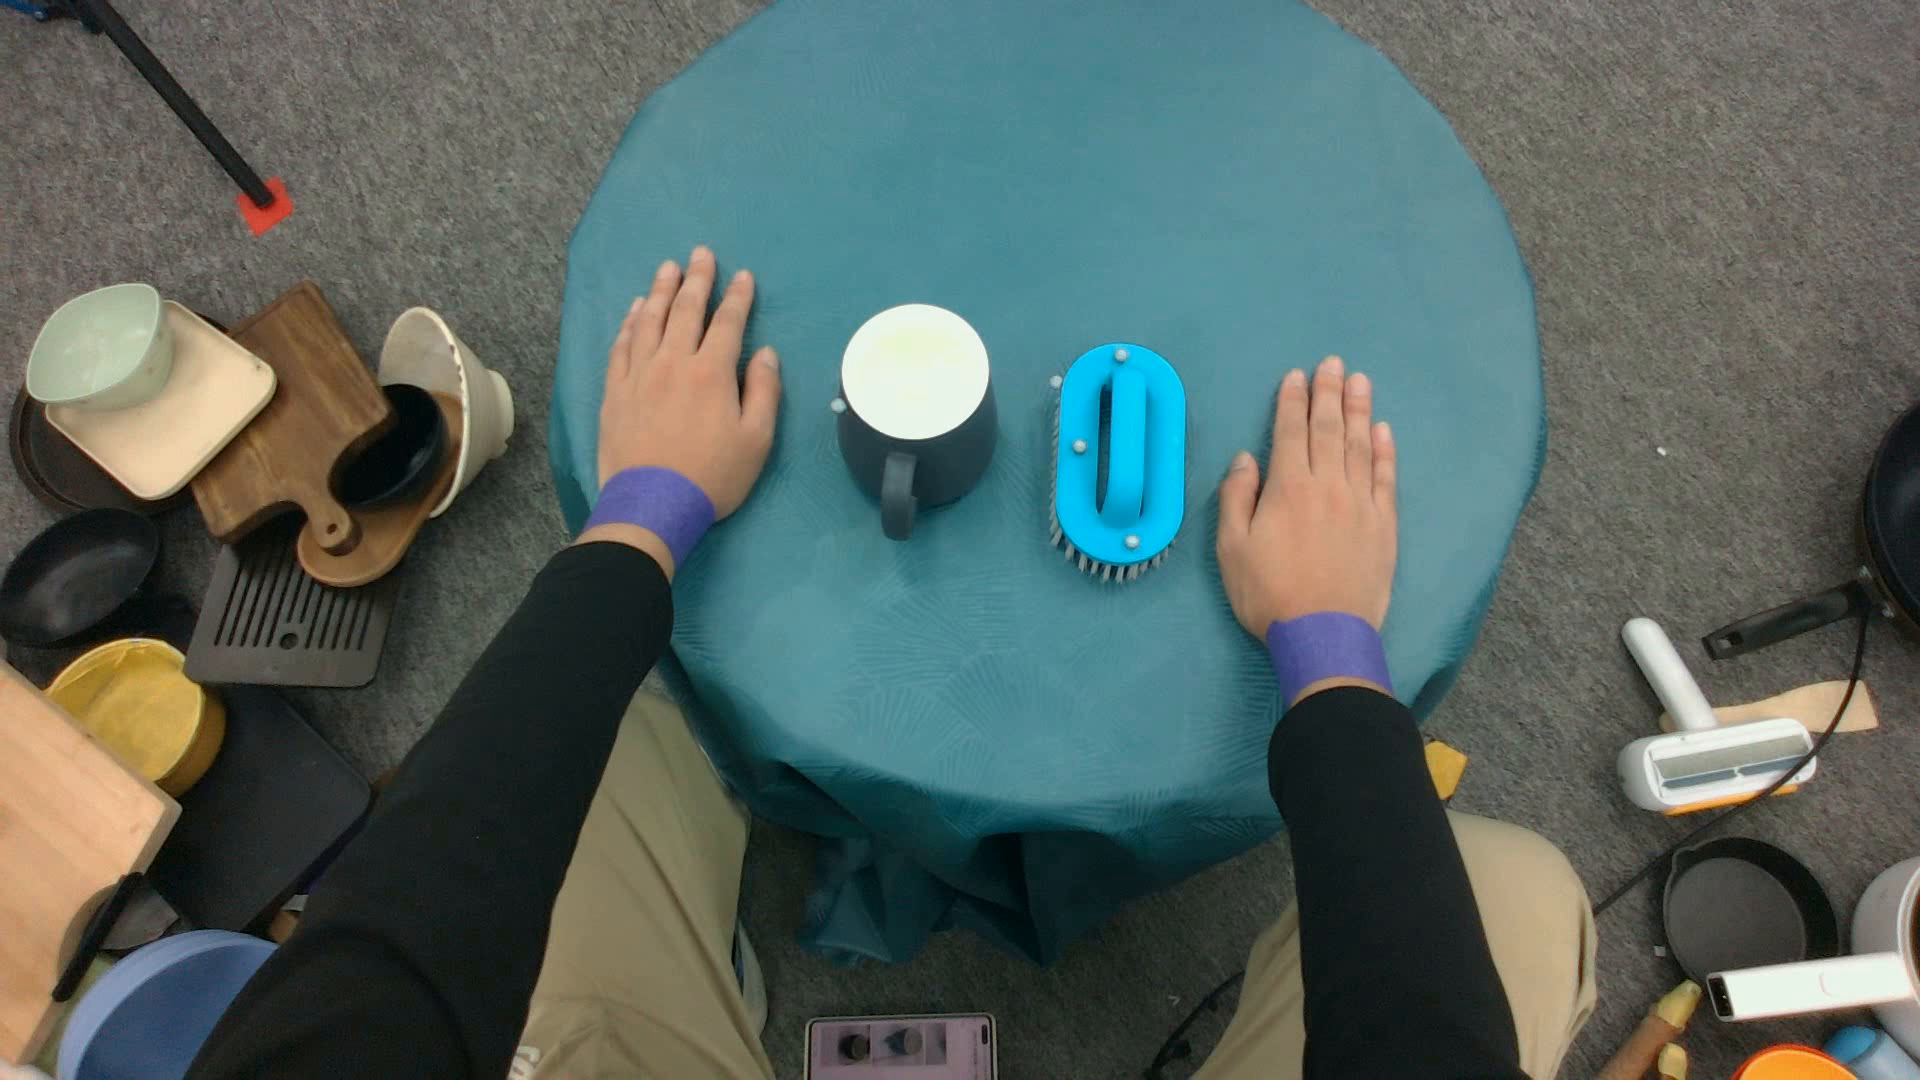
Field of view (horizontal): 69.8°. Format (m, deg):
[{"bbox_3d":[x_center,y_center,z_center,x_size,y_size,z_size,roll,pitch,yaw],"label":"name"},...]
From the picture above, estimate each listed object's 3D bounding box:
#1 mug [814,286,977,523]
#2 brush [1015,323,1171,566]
[{"bbox_3d":[-0.039,-0.070,0.762,0.093,0.089,0.123,10,68,3],"label":"mug"},{"bbox_3d":[0.078,-0.060,0.778,0.084,0.063,0.142,7,70,-4],"label":"brush"}]
